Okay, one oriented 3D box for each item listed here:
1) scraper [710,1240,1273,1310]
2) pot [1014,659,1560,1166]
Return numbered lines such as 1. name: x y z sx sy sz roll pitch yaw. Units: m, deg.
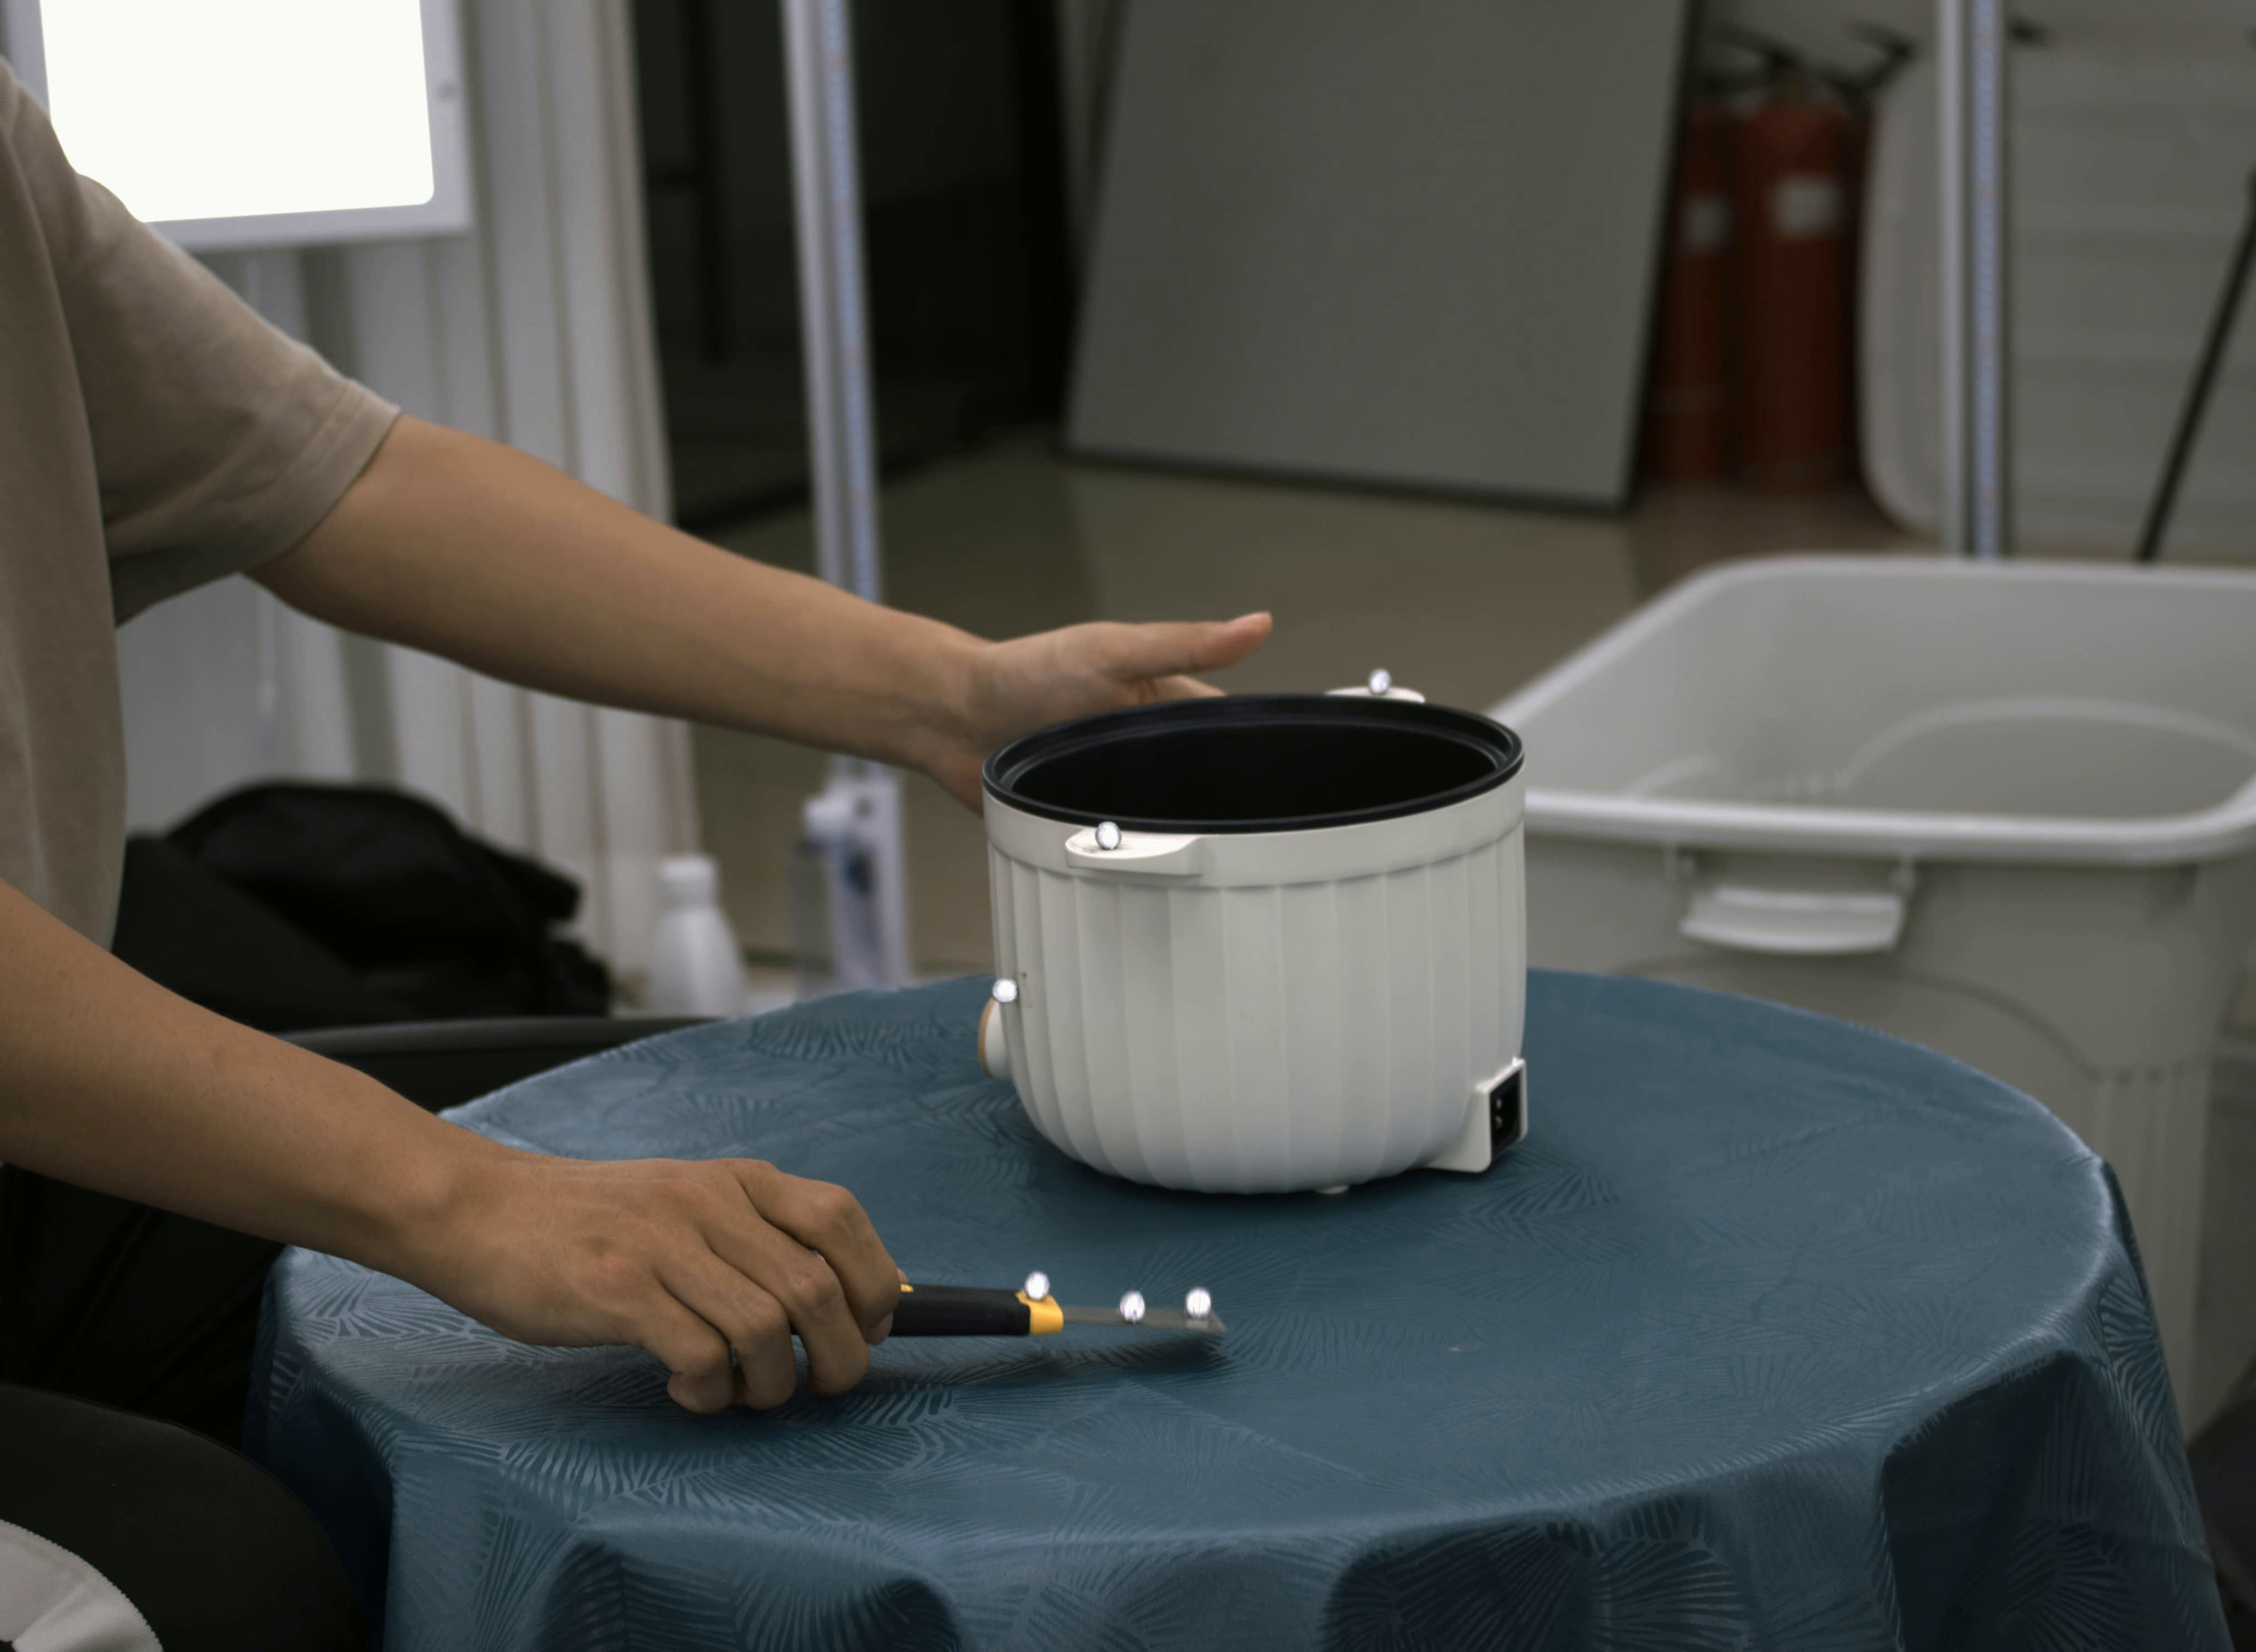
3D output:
1. scraper: -0.041 0.135 1.615 0.168 0.015 0.039 3 8 -8
2. pot: 0.051 0.031 1.813 0.191 0.144 0.237 6 15 24
